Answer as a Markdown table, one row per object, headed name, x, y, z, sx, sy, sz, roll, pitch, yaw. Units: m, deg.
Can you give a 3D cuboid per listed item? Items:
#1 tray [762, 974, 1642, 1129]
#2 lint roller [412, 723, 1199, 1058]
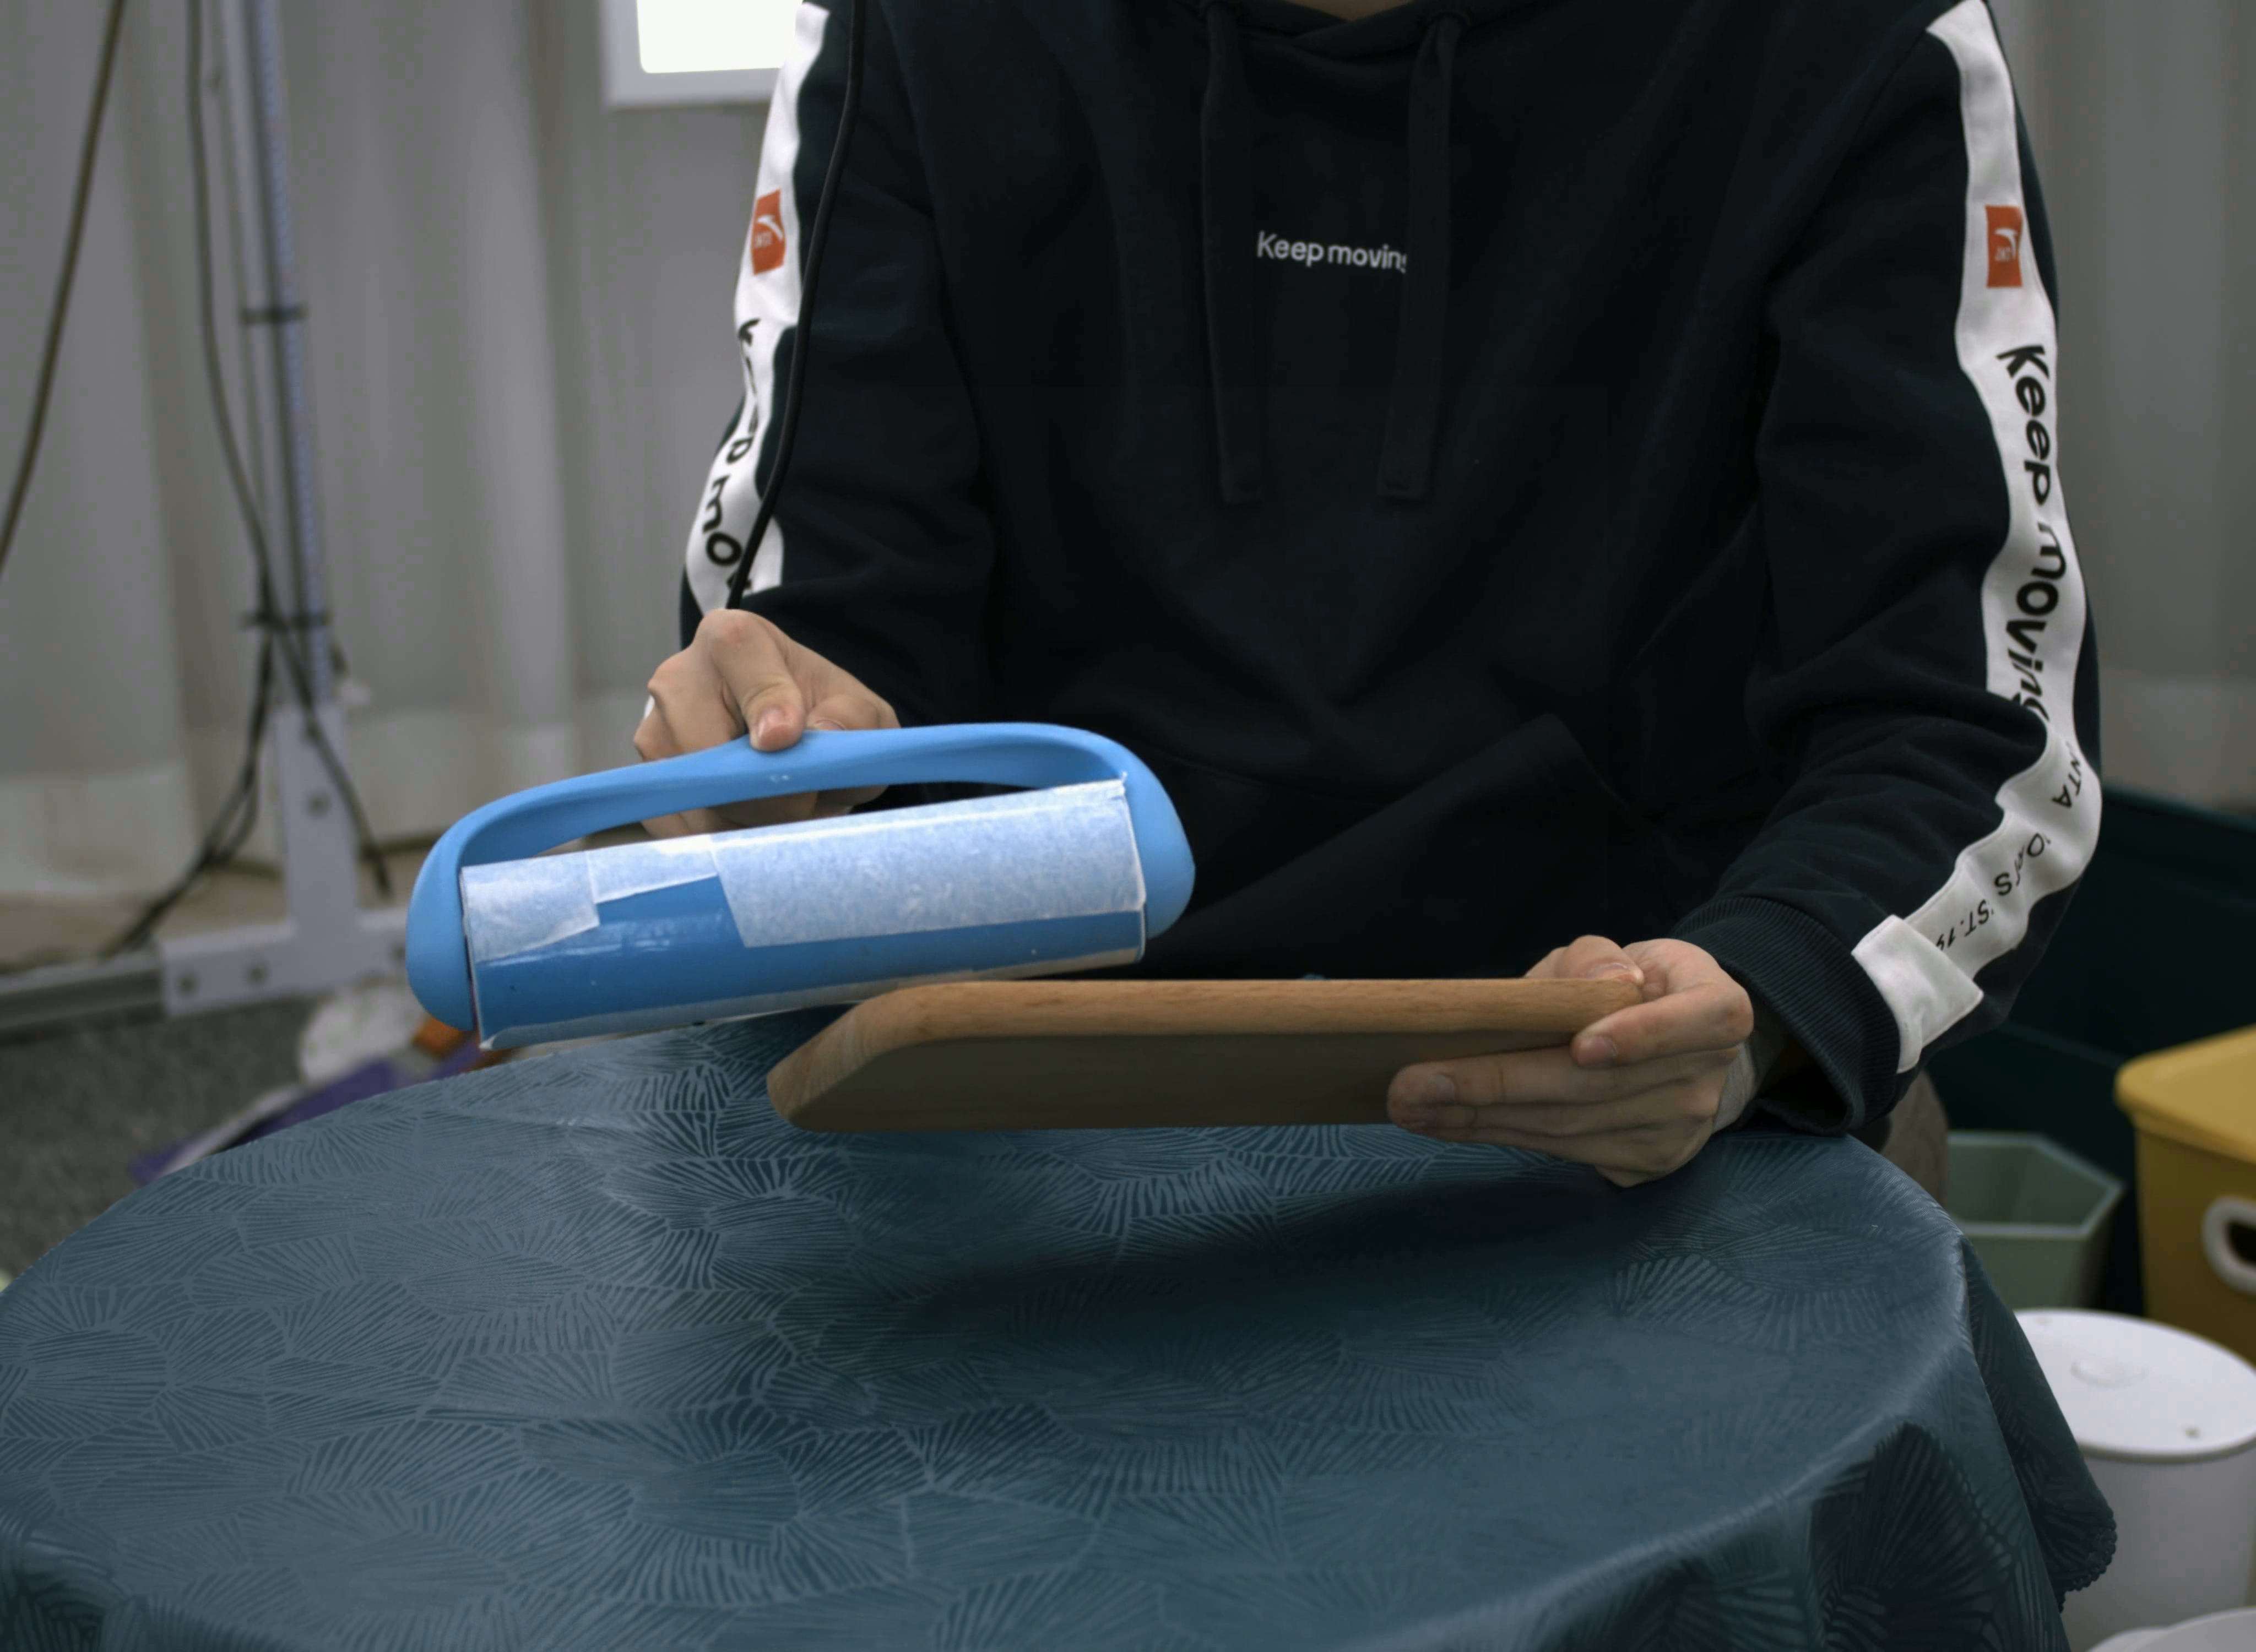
| name | x | y | z | sx | sy | sz | roll | pitch | yaw |
| --- | --- | --- | --- | --- | --- | --- | --- | --- | --- |
| tray | 0.023 | 0.068 | 1.613 | 0.249 | 0.023 | 0.130 | 0 | -19 | -23 |
| lint roller | -0.104 | 0.005 | 1.631 | 0.228 | 0.067 | 0.182 | -11 | 21 | -8 |
